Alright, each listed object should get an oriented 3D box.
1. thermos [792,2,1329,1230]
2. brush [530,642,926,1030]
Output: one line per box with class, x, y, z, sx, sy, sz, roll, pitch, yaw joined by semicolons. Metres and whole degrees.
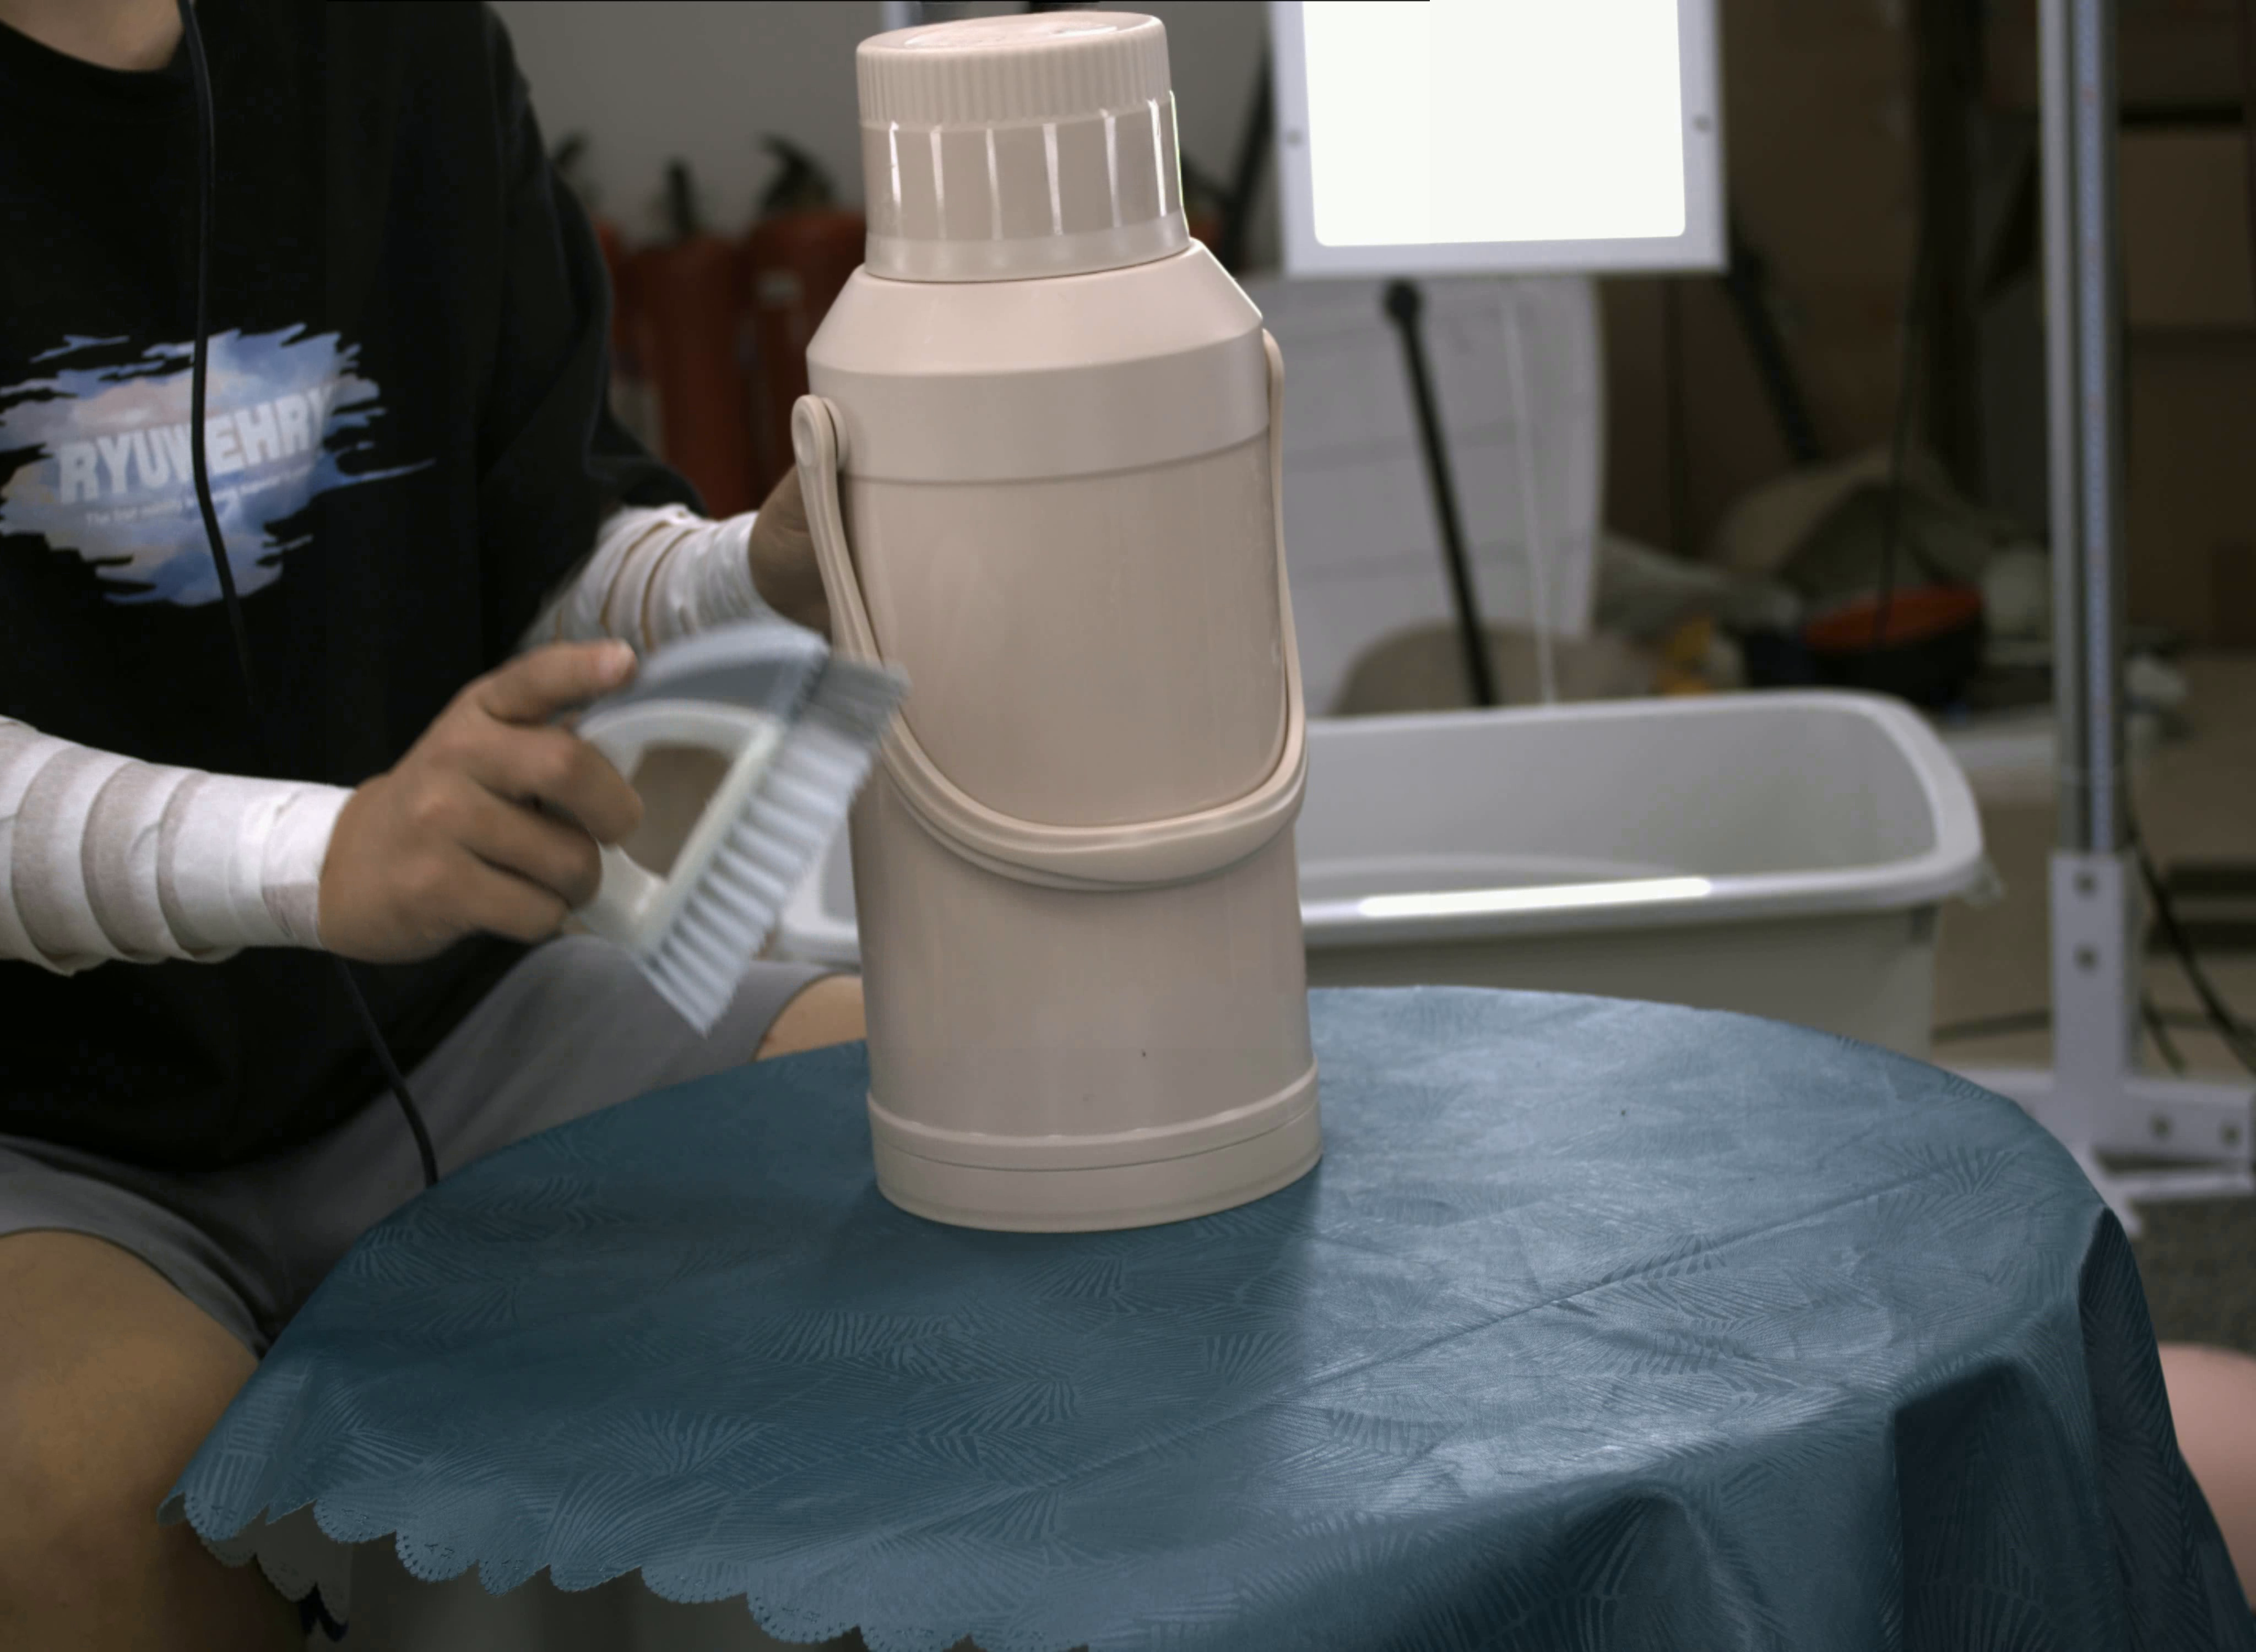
thermos;-0.029;-0.076;1.901;0.172;0.408;0.210;-12;15;-23
brush;-0.134;-0.012;1.772;0.093;0.179;0.061;30;50;-8
